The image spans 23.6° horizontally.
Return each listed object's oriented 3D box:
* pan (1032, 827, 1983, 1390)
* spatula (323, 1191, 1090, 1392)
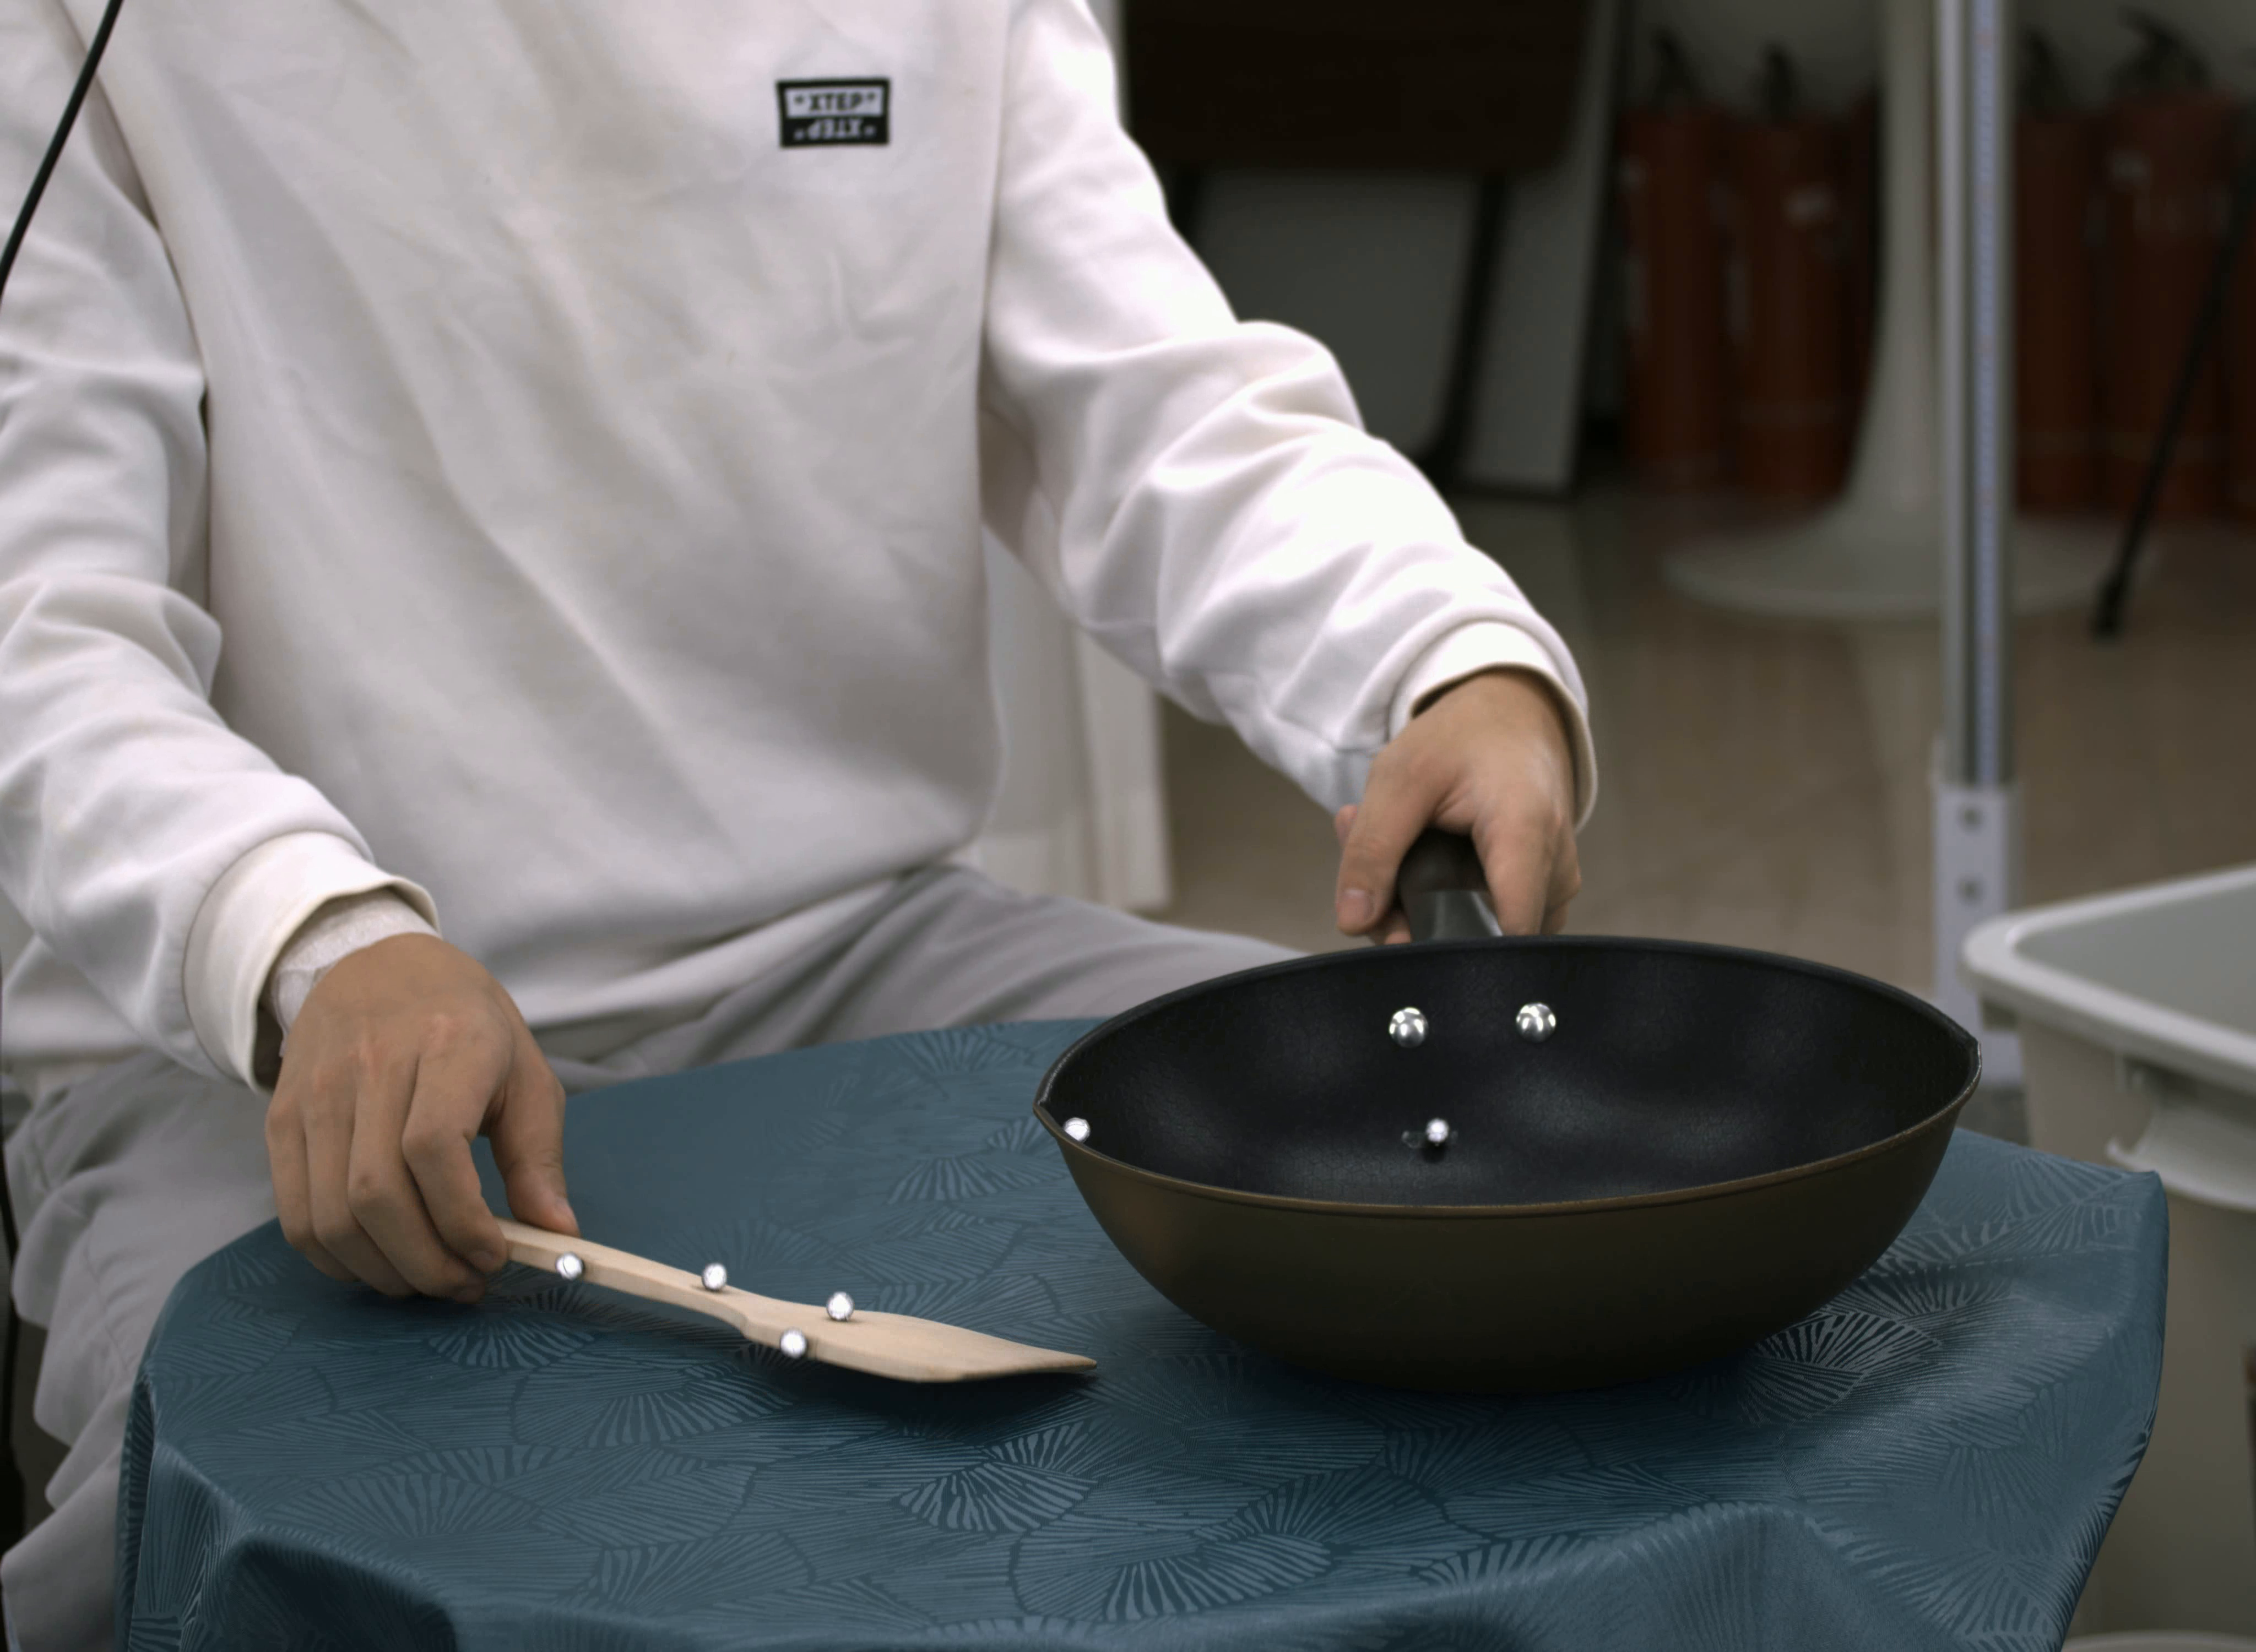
[{"bbox_3d":[0.113,0.087,1.705,0.284,0.088,0.464,-4,12,0],"label":"pan"},{"bbox_3d":[-0.143,0.143,1.665,0.295,0.011,0.071,10,7,39],"label":"spatula"}]
